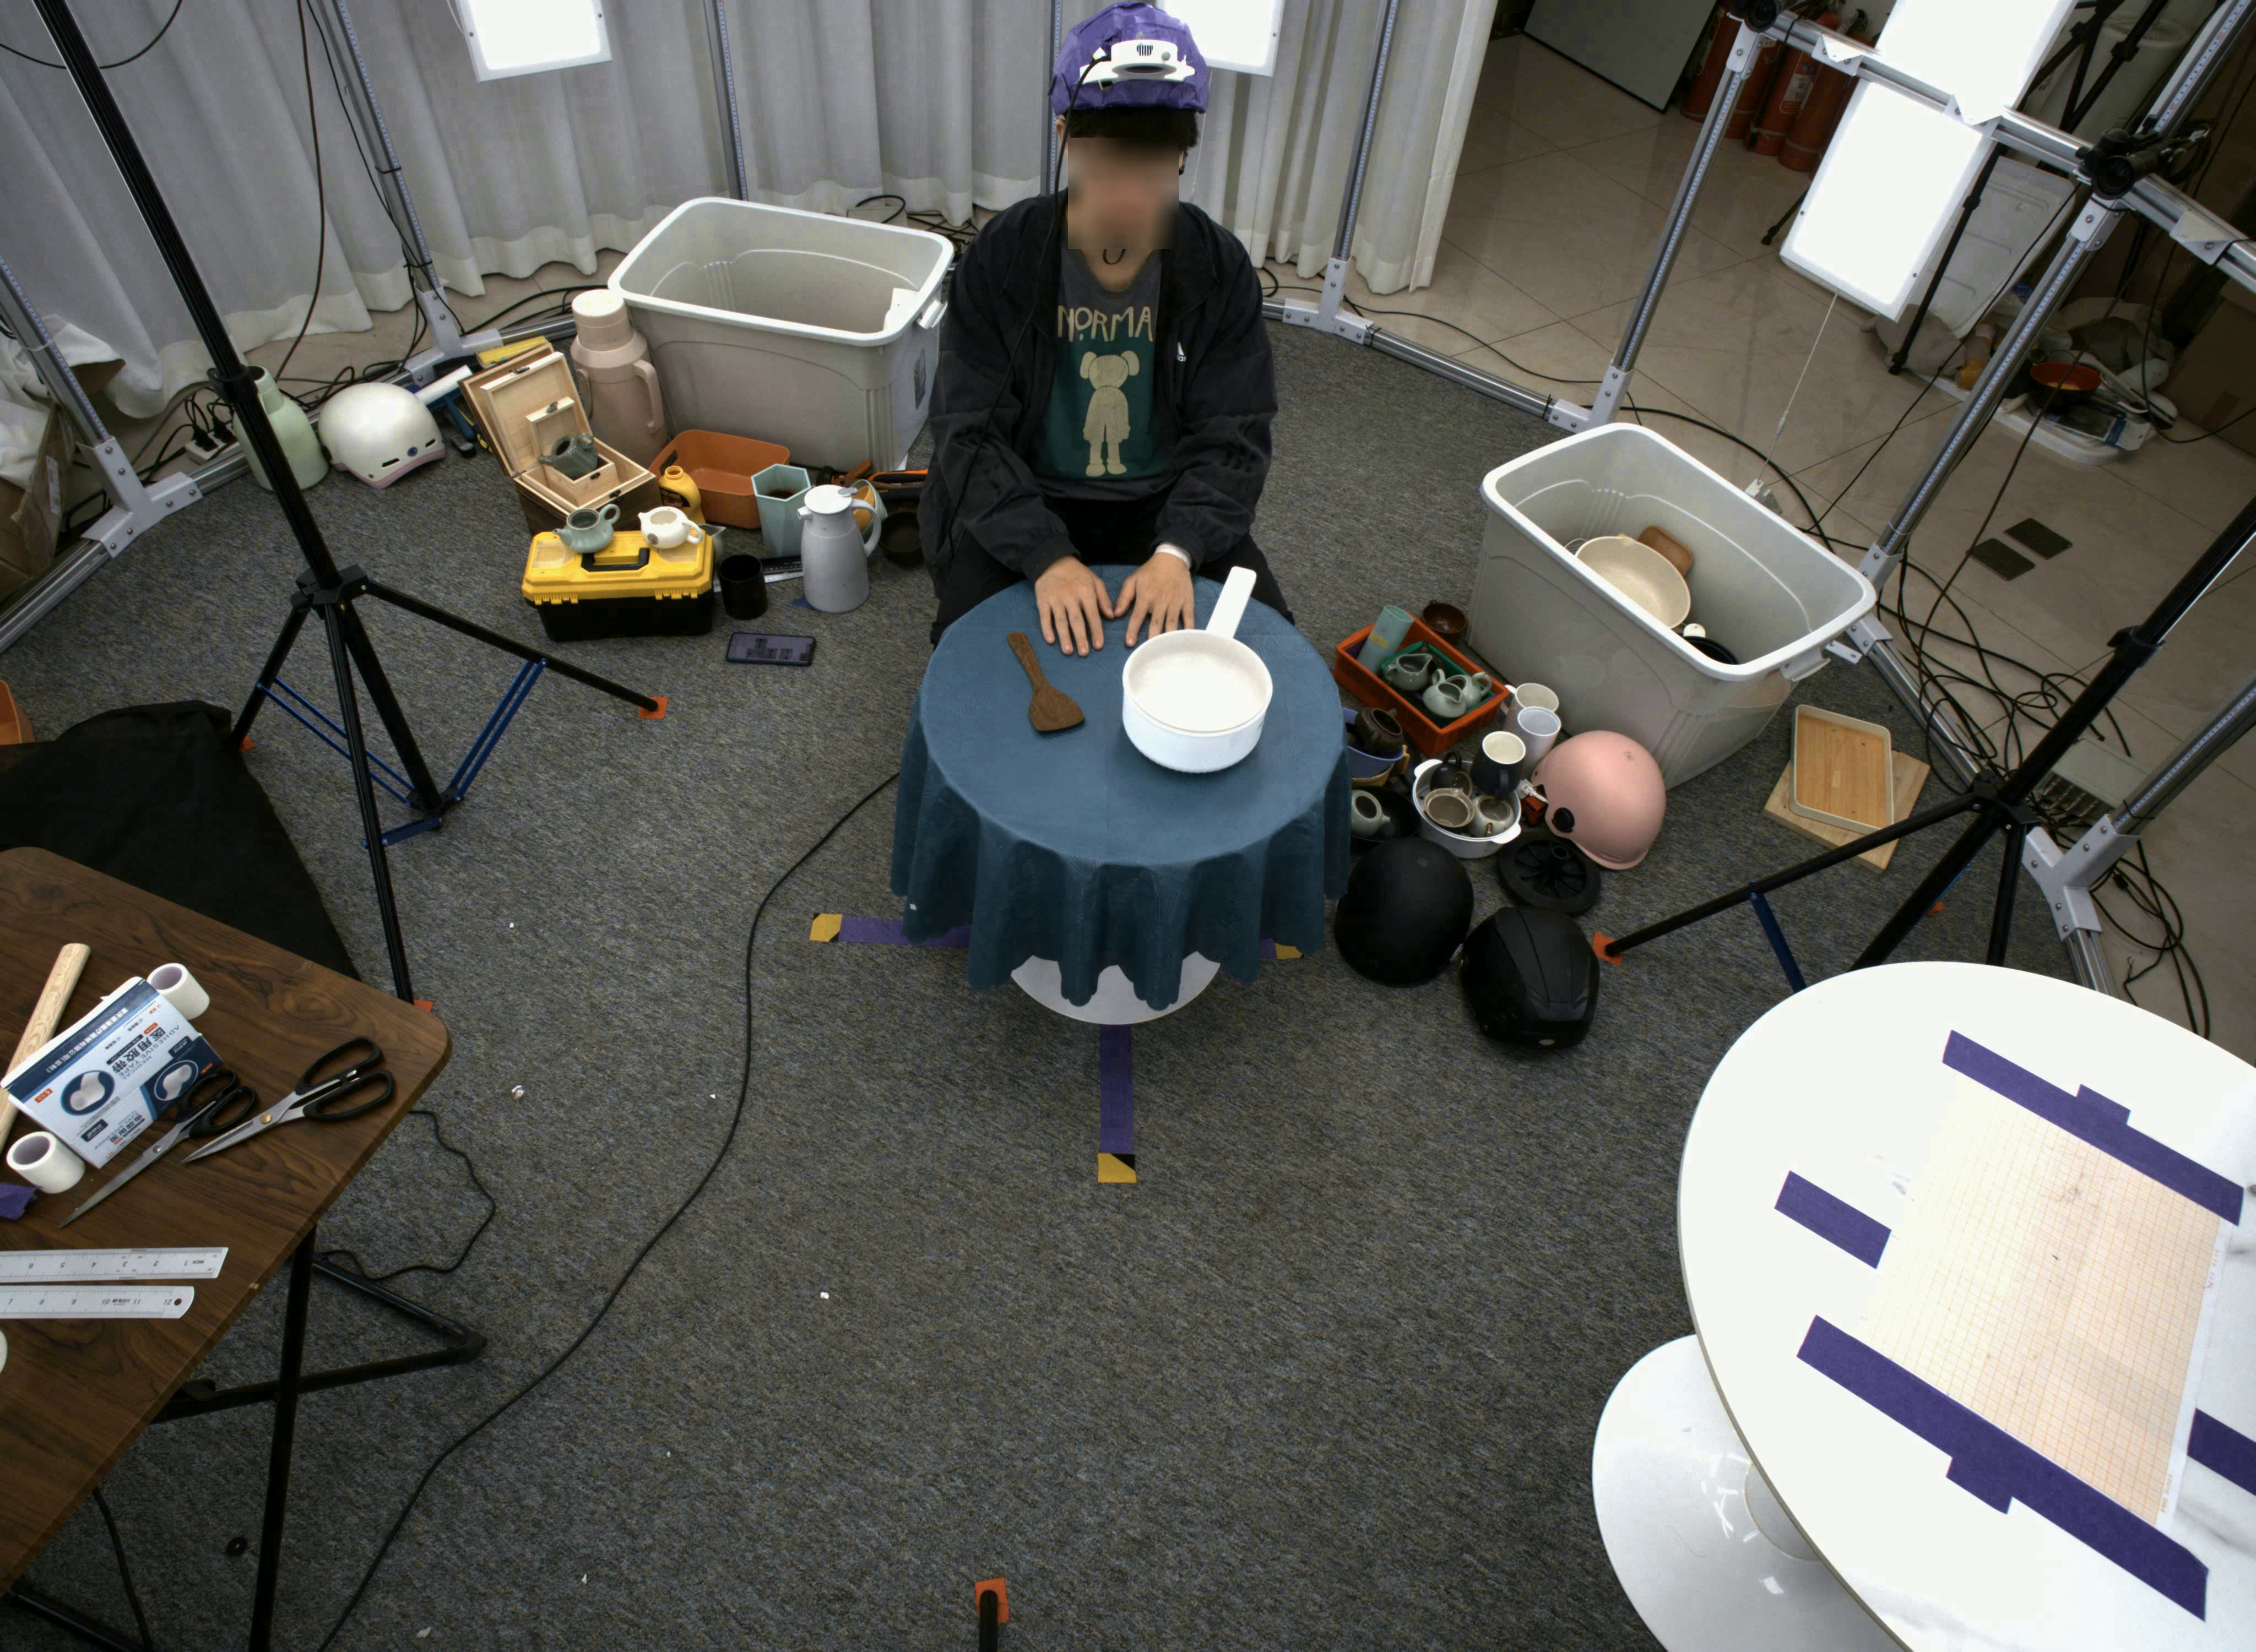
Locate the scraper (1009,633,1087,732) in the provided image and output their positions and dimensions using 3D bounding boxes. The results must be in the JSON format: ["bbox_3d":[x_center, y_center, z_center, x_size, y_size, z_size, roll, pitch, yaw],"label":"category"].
[{"bbox_3d":[-0.126,-0.208,1.835,0.076,0.010,0.216,-14,50,-16],"label":"scraper"}]

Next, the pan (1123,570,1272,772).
[{"bbox_3d":[0.115,-0.220,1.802,0.202,0.099,0.362,15,48,10],"label":"pan"}]
